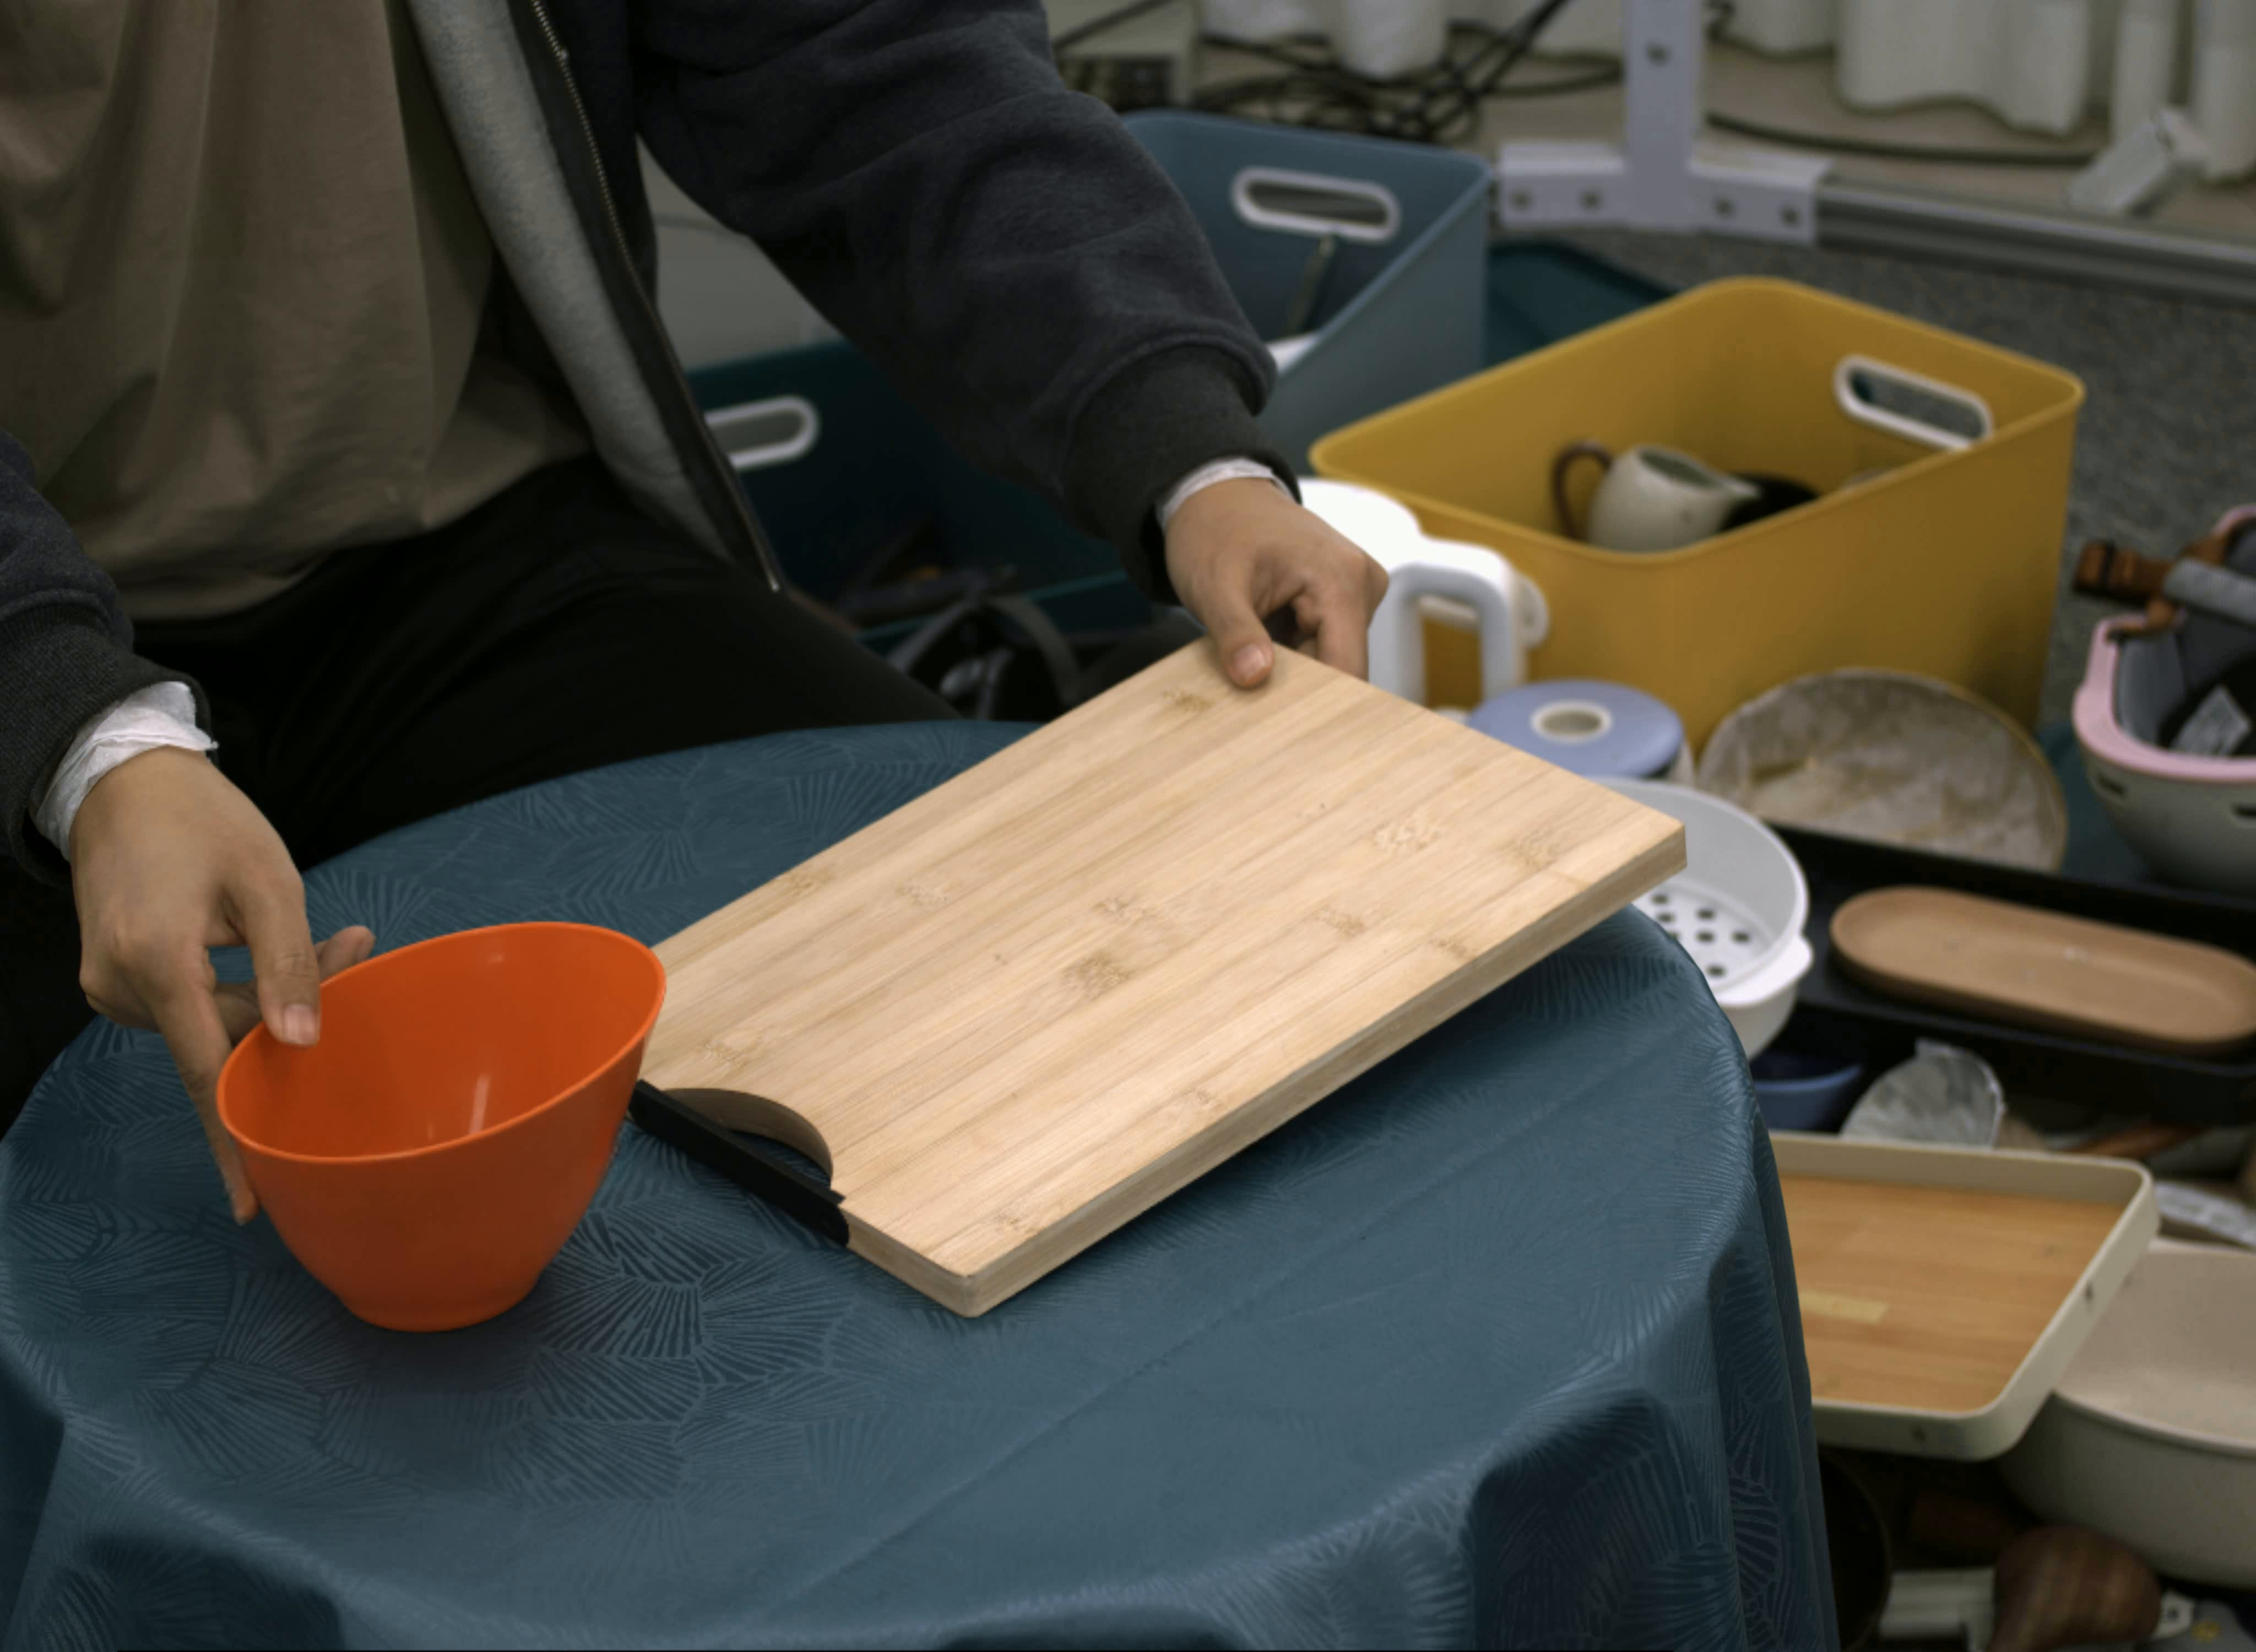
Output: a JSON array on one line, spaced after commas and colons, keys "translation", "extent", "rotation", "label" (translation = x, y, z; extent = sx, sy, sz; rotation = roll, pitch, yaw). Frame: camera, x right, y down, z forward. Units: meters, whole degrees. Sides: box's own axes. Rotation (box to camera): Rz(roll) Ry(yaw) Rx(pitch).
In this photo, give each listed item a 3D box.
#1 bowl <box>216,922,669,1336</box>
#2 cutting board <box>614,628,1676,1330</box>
[{"translation": [-0.217, 0.104, 1.808], "extent": [0.147, 0.103, 0.150], "rotation": [-3, 28, 2], "label": "bowl"}, {"translation": [-0.011, 0.044, 1.962], "extent": [0.353, 0.023, 0.250], "rotation": [-30, 37, -33], "label": "cutting board"}]
